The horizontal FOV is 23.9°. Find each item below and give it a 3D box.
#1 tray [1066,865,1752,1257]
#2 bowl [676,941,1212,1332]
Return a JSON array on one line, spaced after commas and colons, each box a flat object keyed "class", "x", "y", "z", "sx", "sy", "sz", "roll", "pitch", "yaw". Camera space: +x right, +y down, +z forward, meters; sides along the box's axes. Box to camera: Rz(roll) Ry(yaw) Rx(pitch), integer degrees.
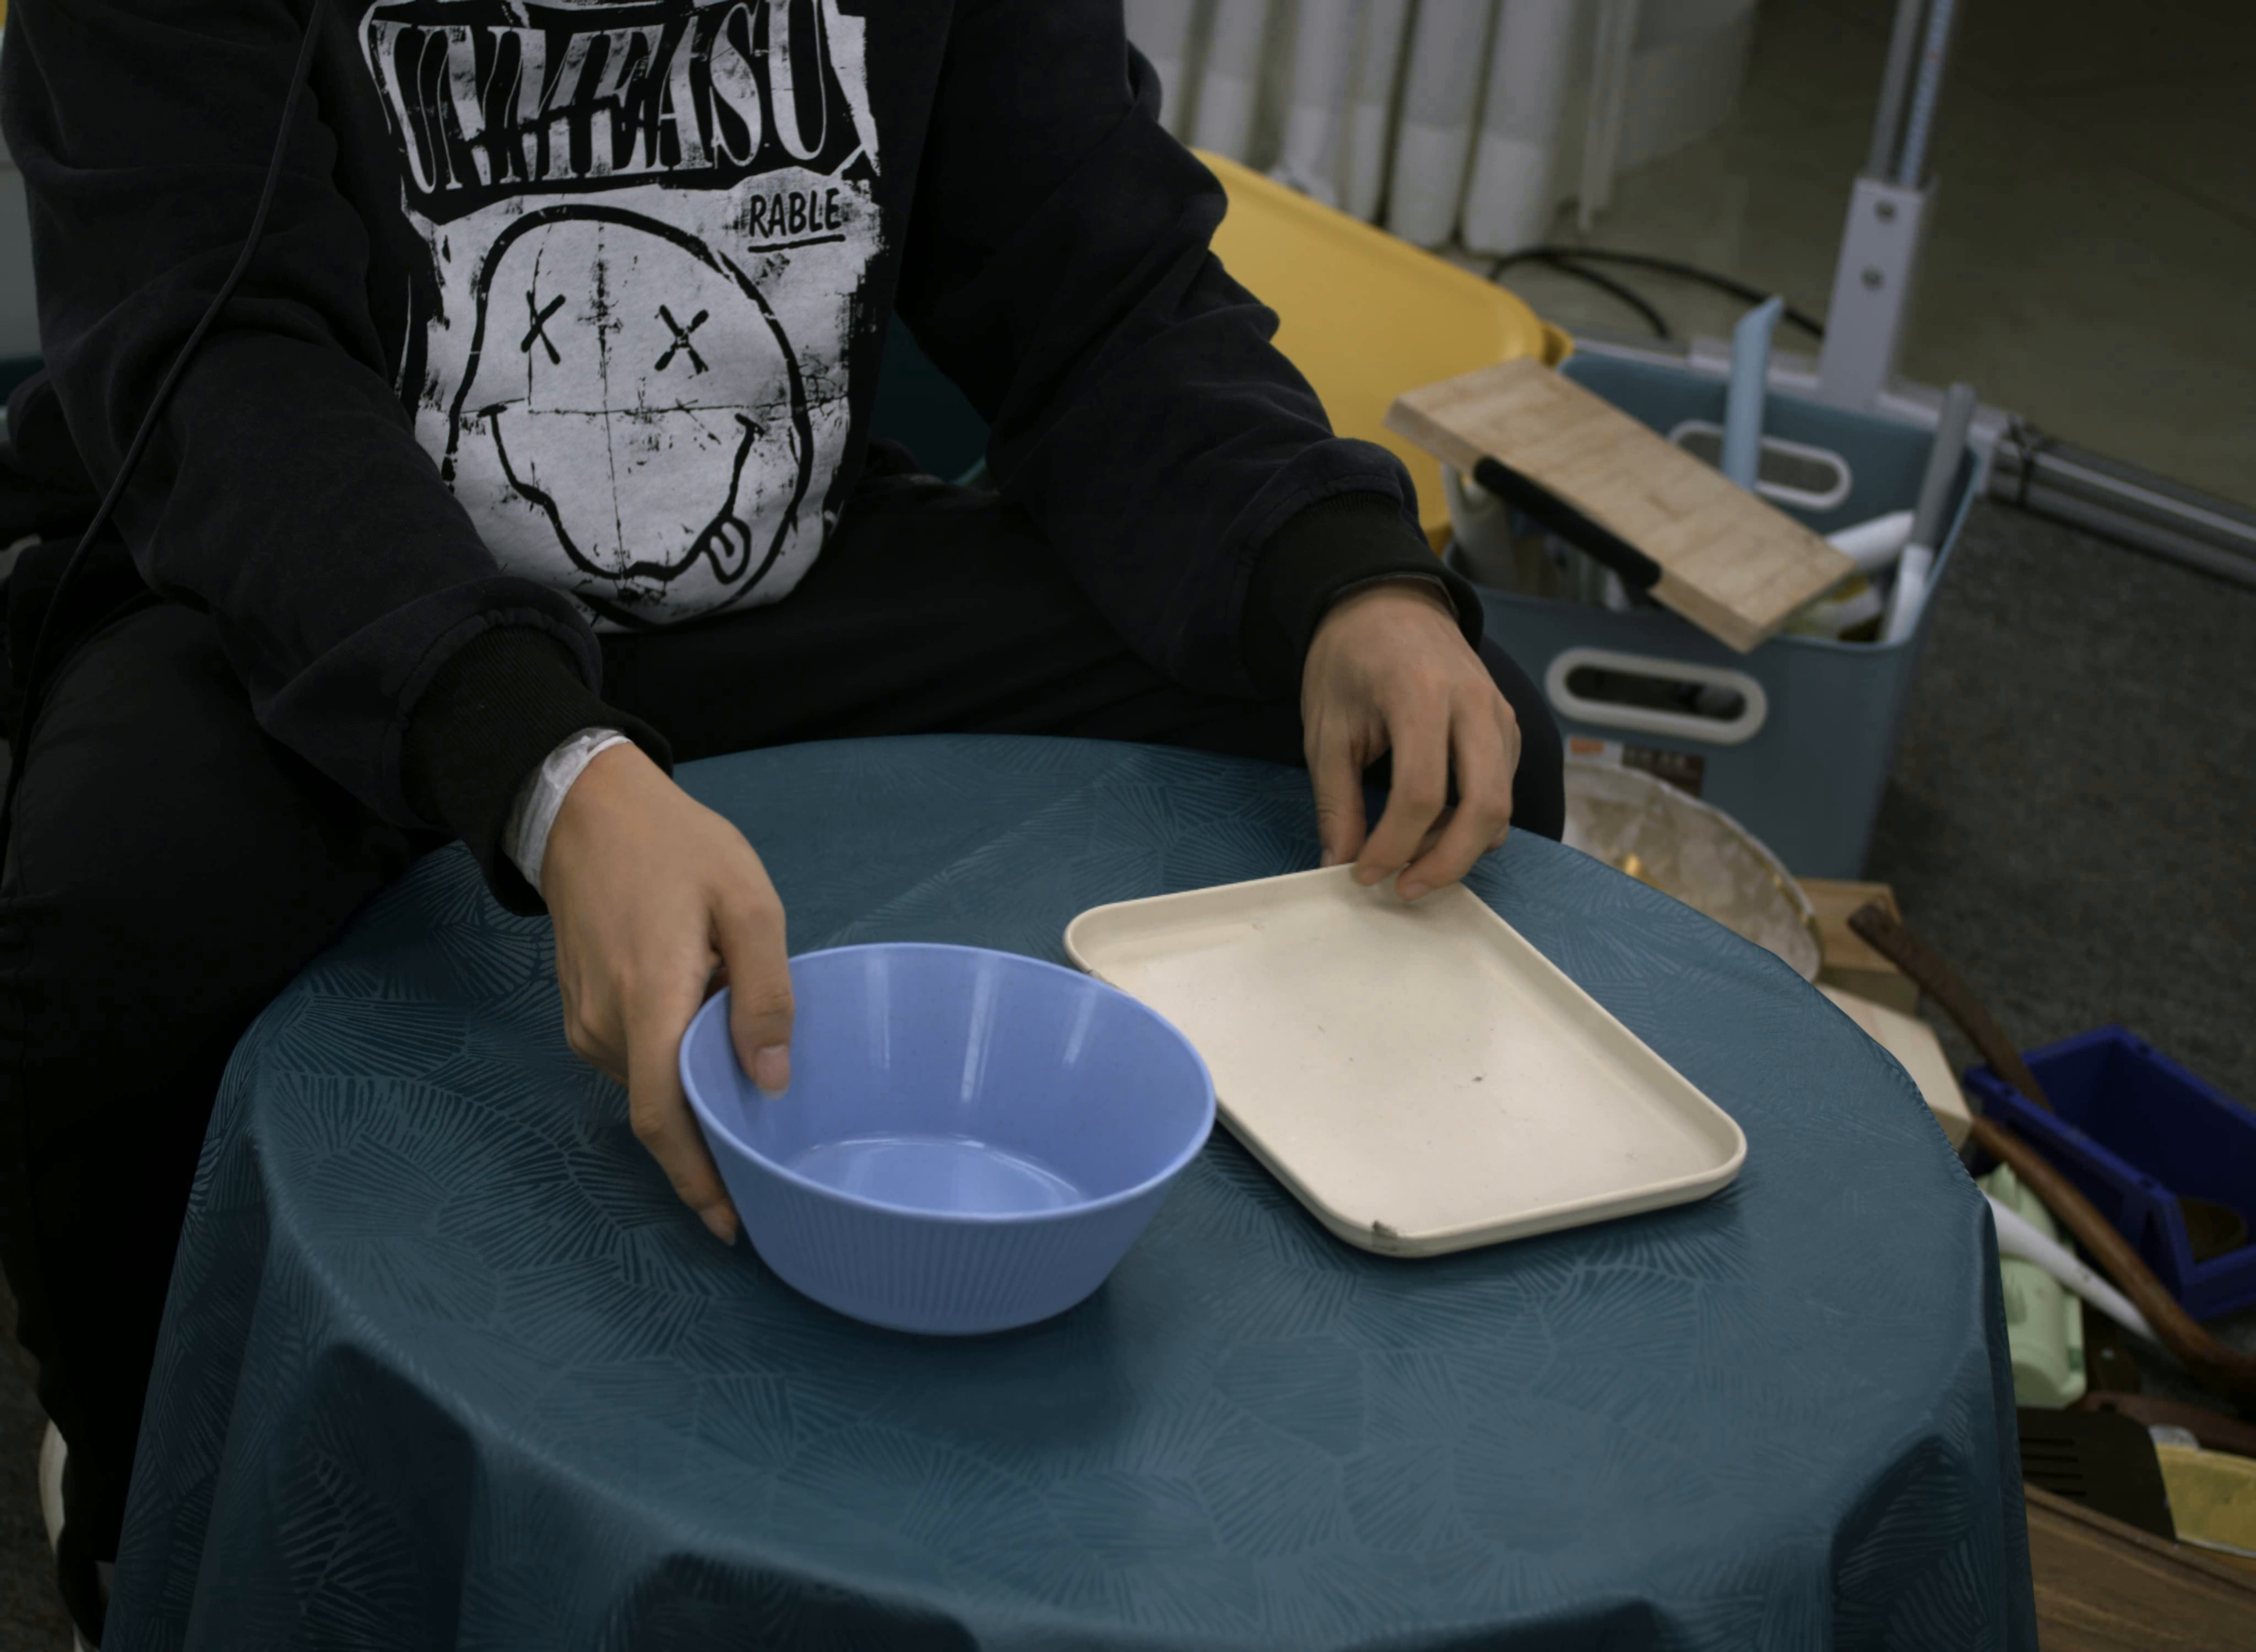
[{"class": "tray", "x": 0.096, "y": 0.082, "z": 1.885, "sx": 0.170, "sy": 0.017, "sz": 0.242, "roll": -8, "pitch": 30, "yaw": -28}, {"class": "bowl", "x": -0.063, "y": 0.107, "z": 1.739, "sx": 0.175, "sy": 0.070, "sz": 0.177, "roll": 6, "pitch": 27, "yaw": -3}]
